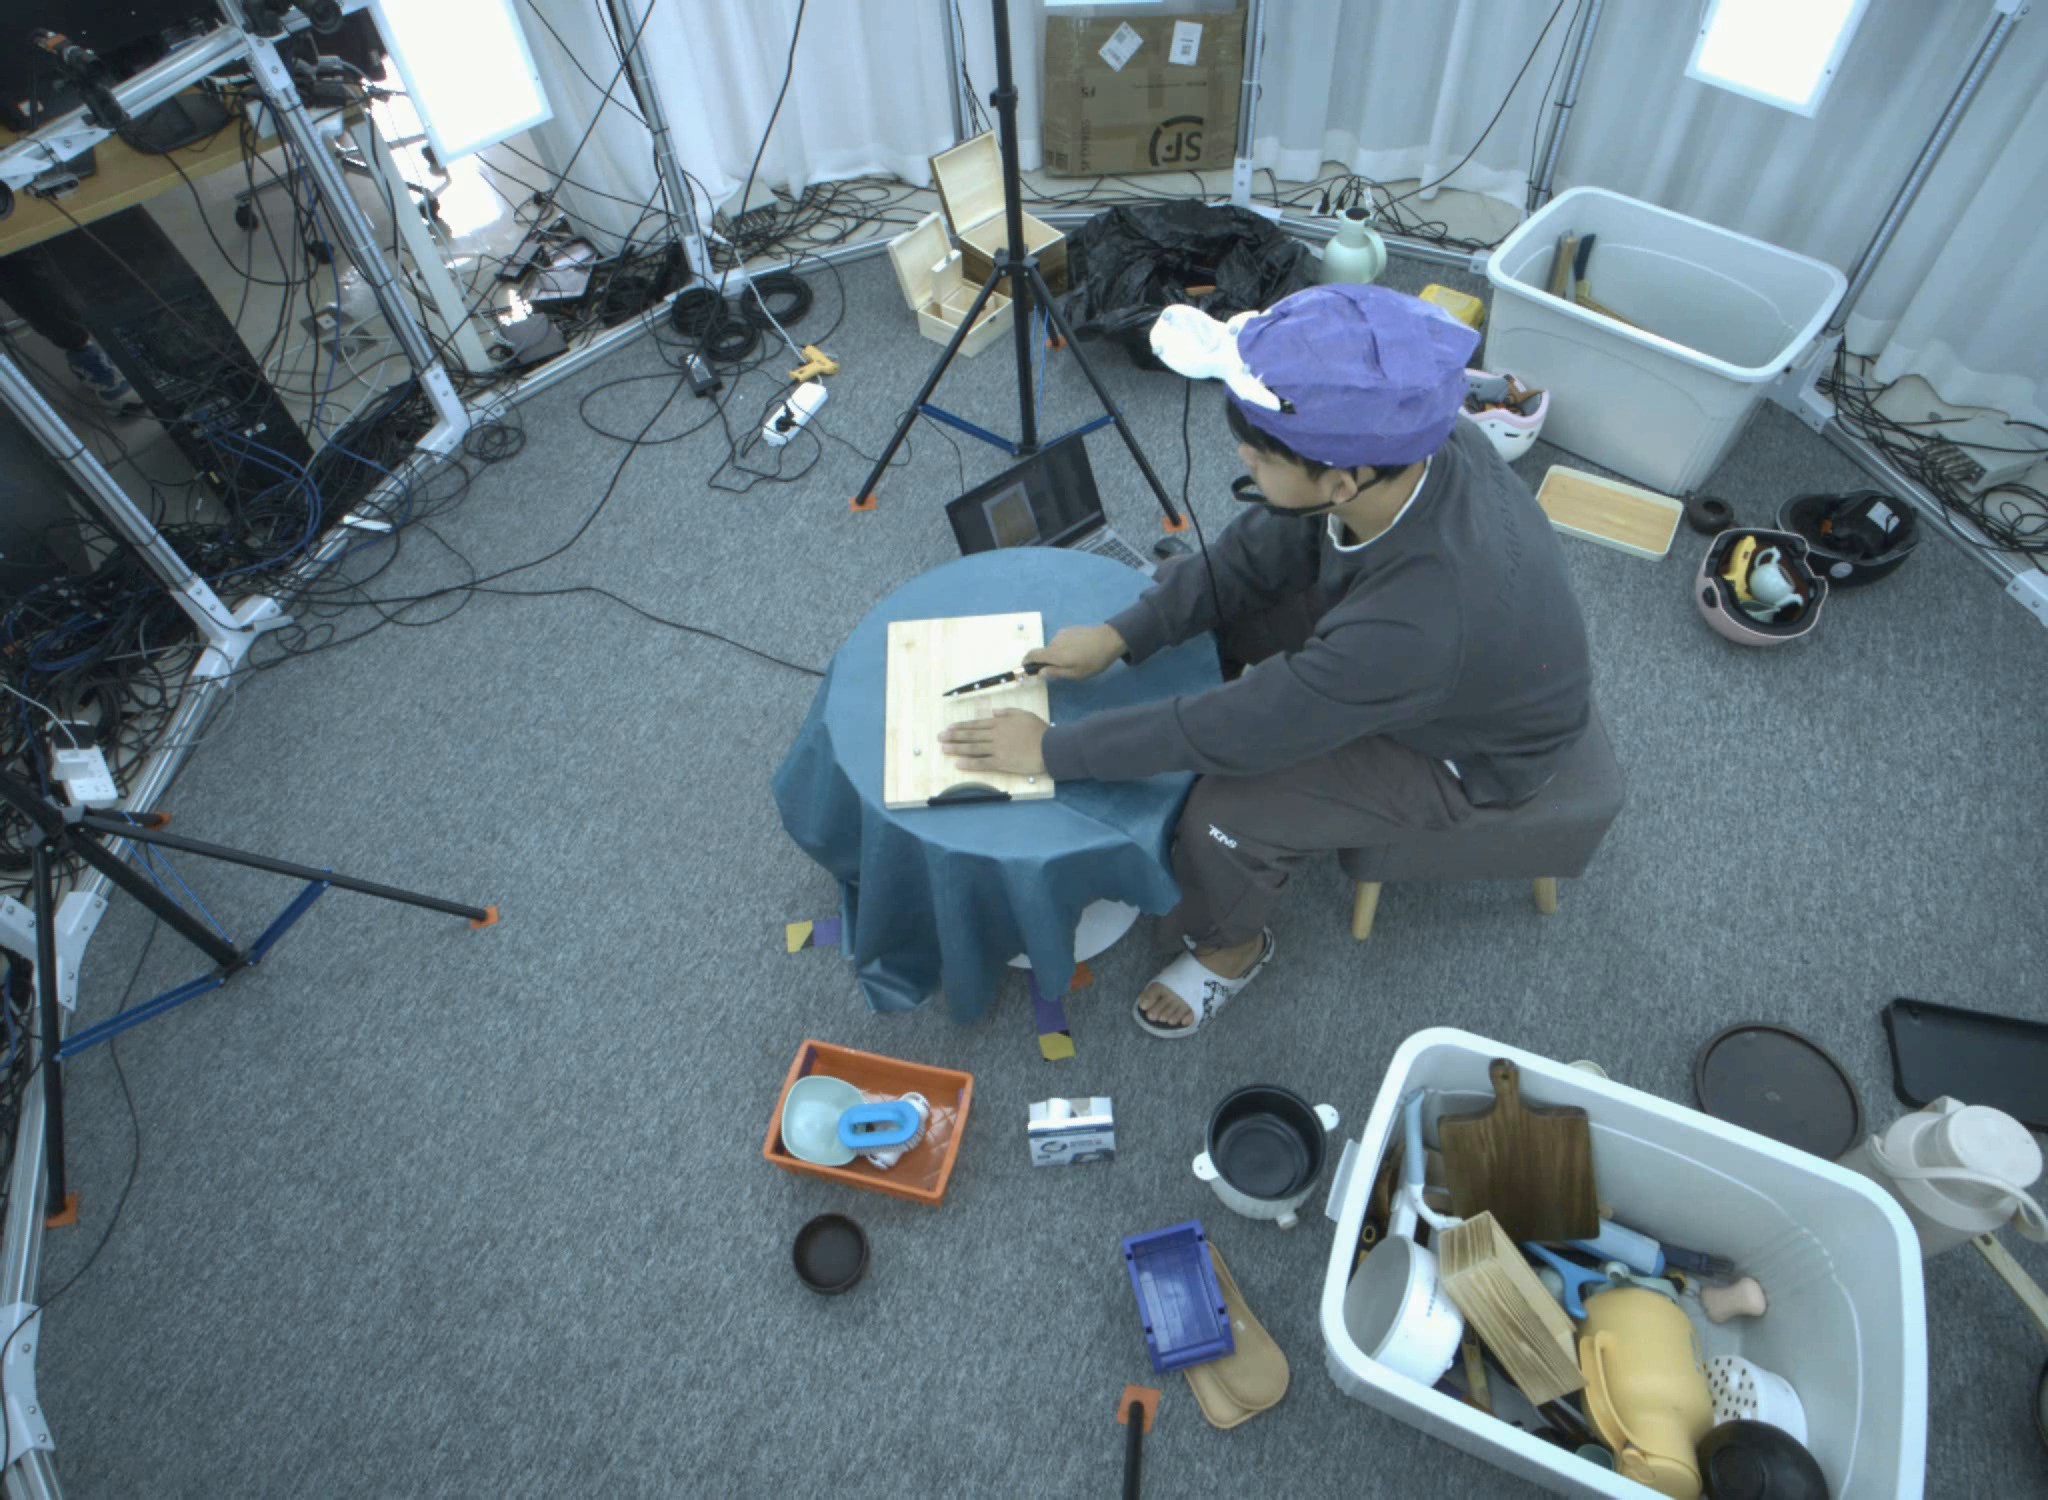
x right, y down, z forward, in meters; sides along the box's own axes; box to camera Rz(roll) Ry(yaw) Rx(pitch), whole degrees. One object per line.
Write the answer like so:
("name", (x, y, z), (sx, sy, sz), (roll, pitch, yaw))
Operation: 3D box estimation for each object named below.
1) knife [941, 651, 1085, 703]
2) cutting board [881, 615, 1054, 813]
("knife", (-0.017, -0.109, 1.821), (0.226, 0.026, 0.017), (-17, 53, -5))
("cutting board", (-0.086, -0.062, 1.824), (0.251, 0.024, 0.344), (-4, 55, -1))
